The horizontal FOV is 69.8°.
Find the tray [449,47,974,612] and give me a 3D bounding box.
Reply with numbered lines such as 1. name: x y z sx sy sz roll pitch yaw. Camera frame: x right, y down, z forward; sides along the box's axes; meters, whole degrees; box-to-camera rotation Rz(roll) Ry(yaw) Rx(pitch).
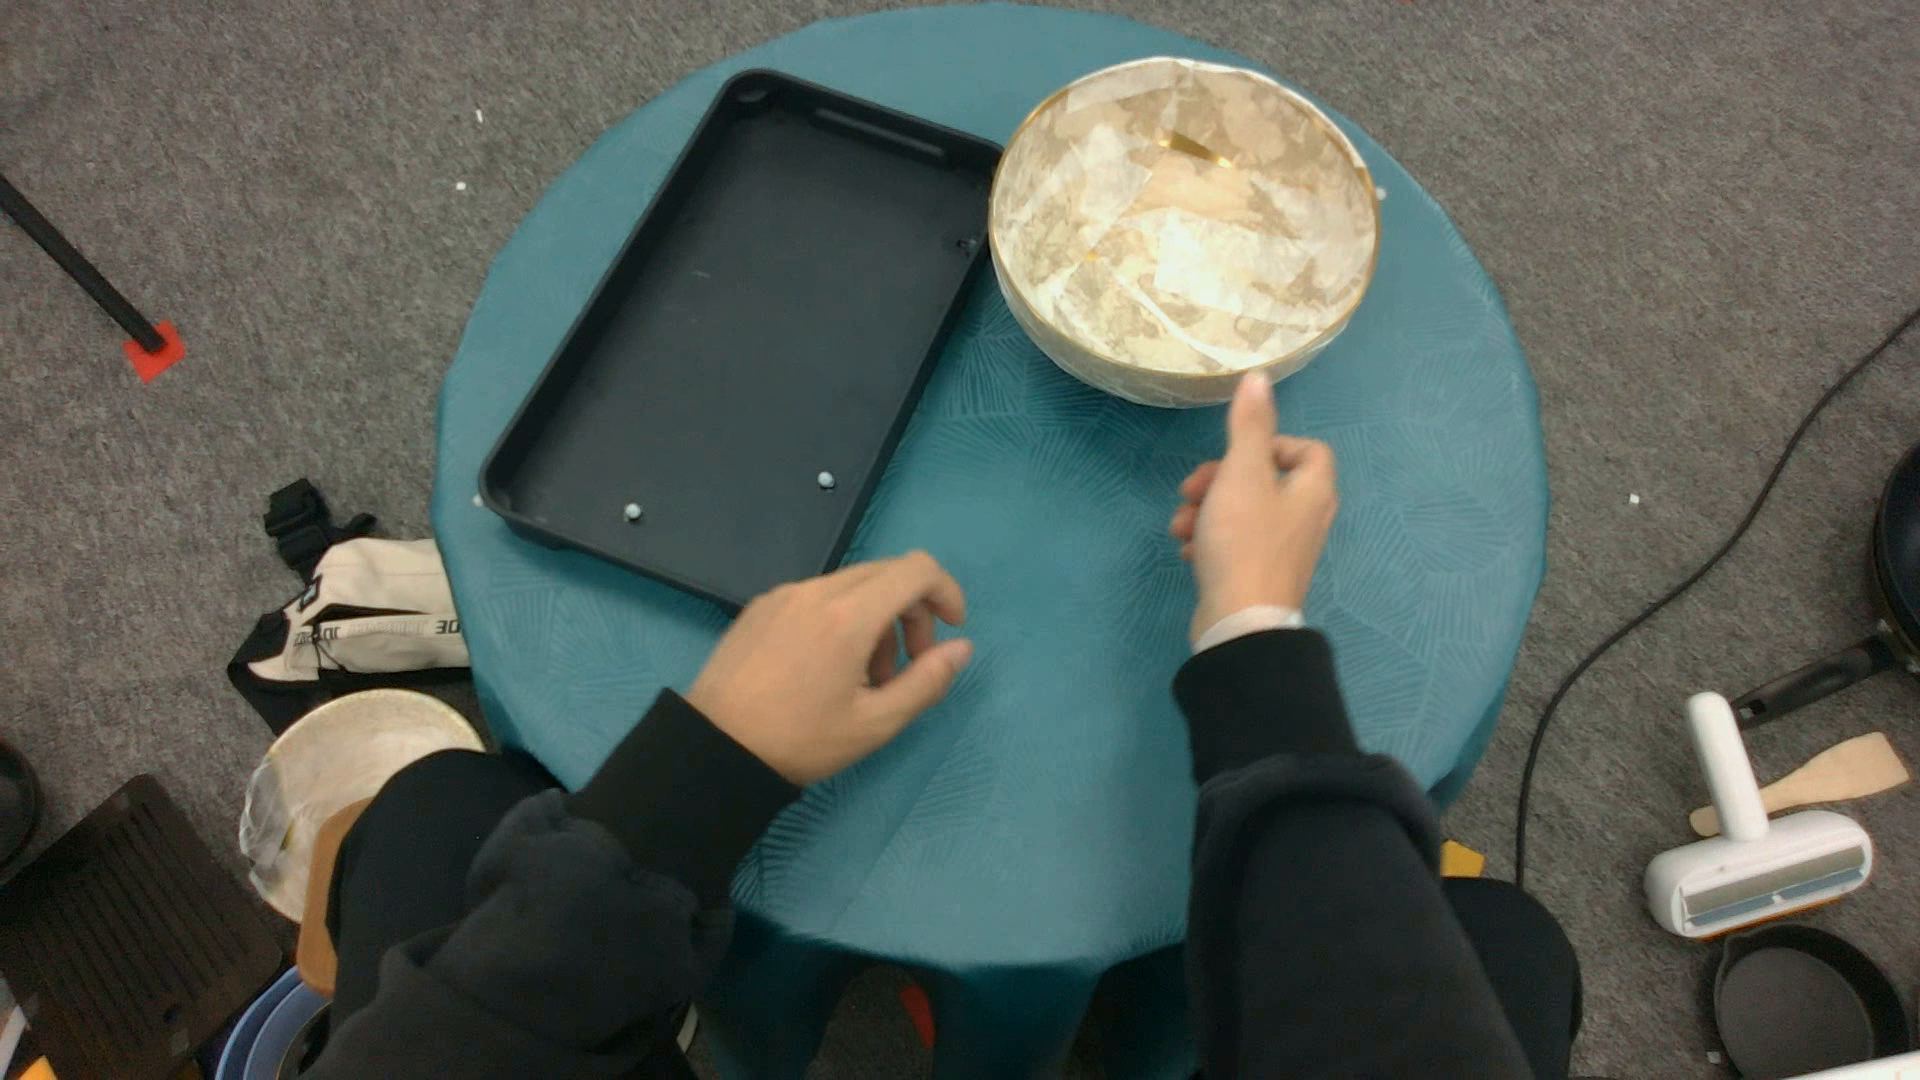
1. tray: -0.118 -0.126 0.749 0.184 0.037 0.319 21 66 8

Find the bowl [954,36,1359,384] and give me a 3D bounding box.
1. bowl: 0.097 -0.160 0.741 0.215 0.094 0.215 1 65 -3
